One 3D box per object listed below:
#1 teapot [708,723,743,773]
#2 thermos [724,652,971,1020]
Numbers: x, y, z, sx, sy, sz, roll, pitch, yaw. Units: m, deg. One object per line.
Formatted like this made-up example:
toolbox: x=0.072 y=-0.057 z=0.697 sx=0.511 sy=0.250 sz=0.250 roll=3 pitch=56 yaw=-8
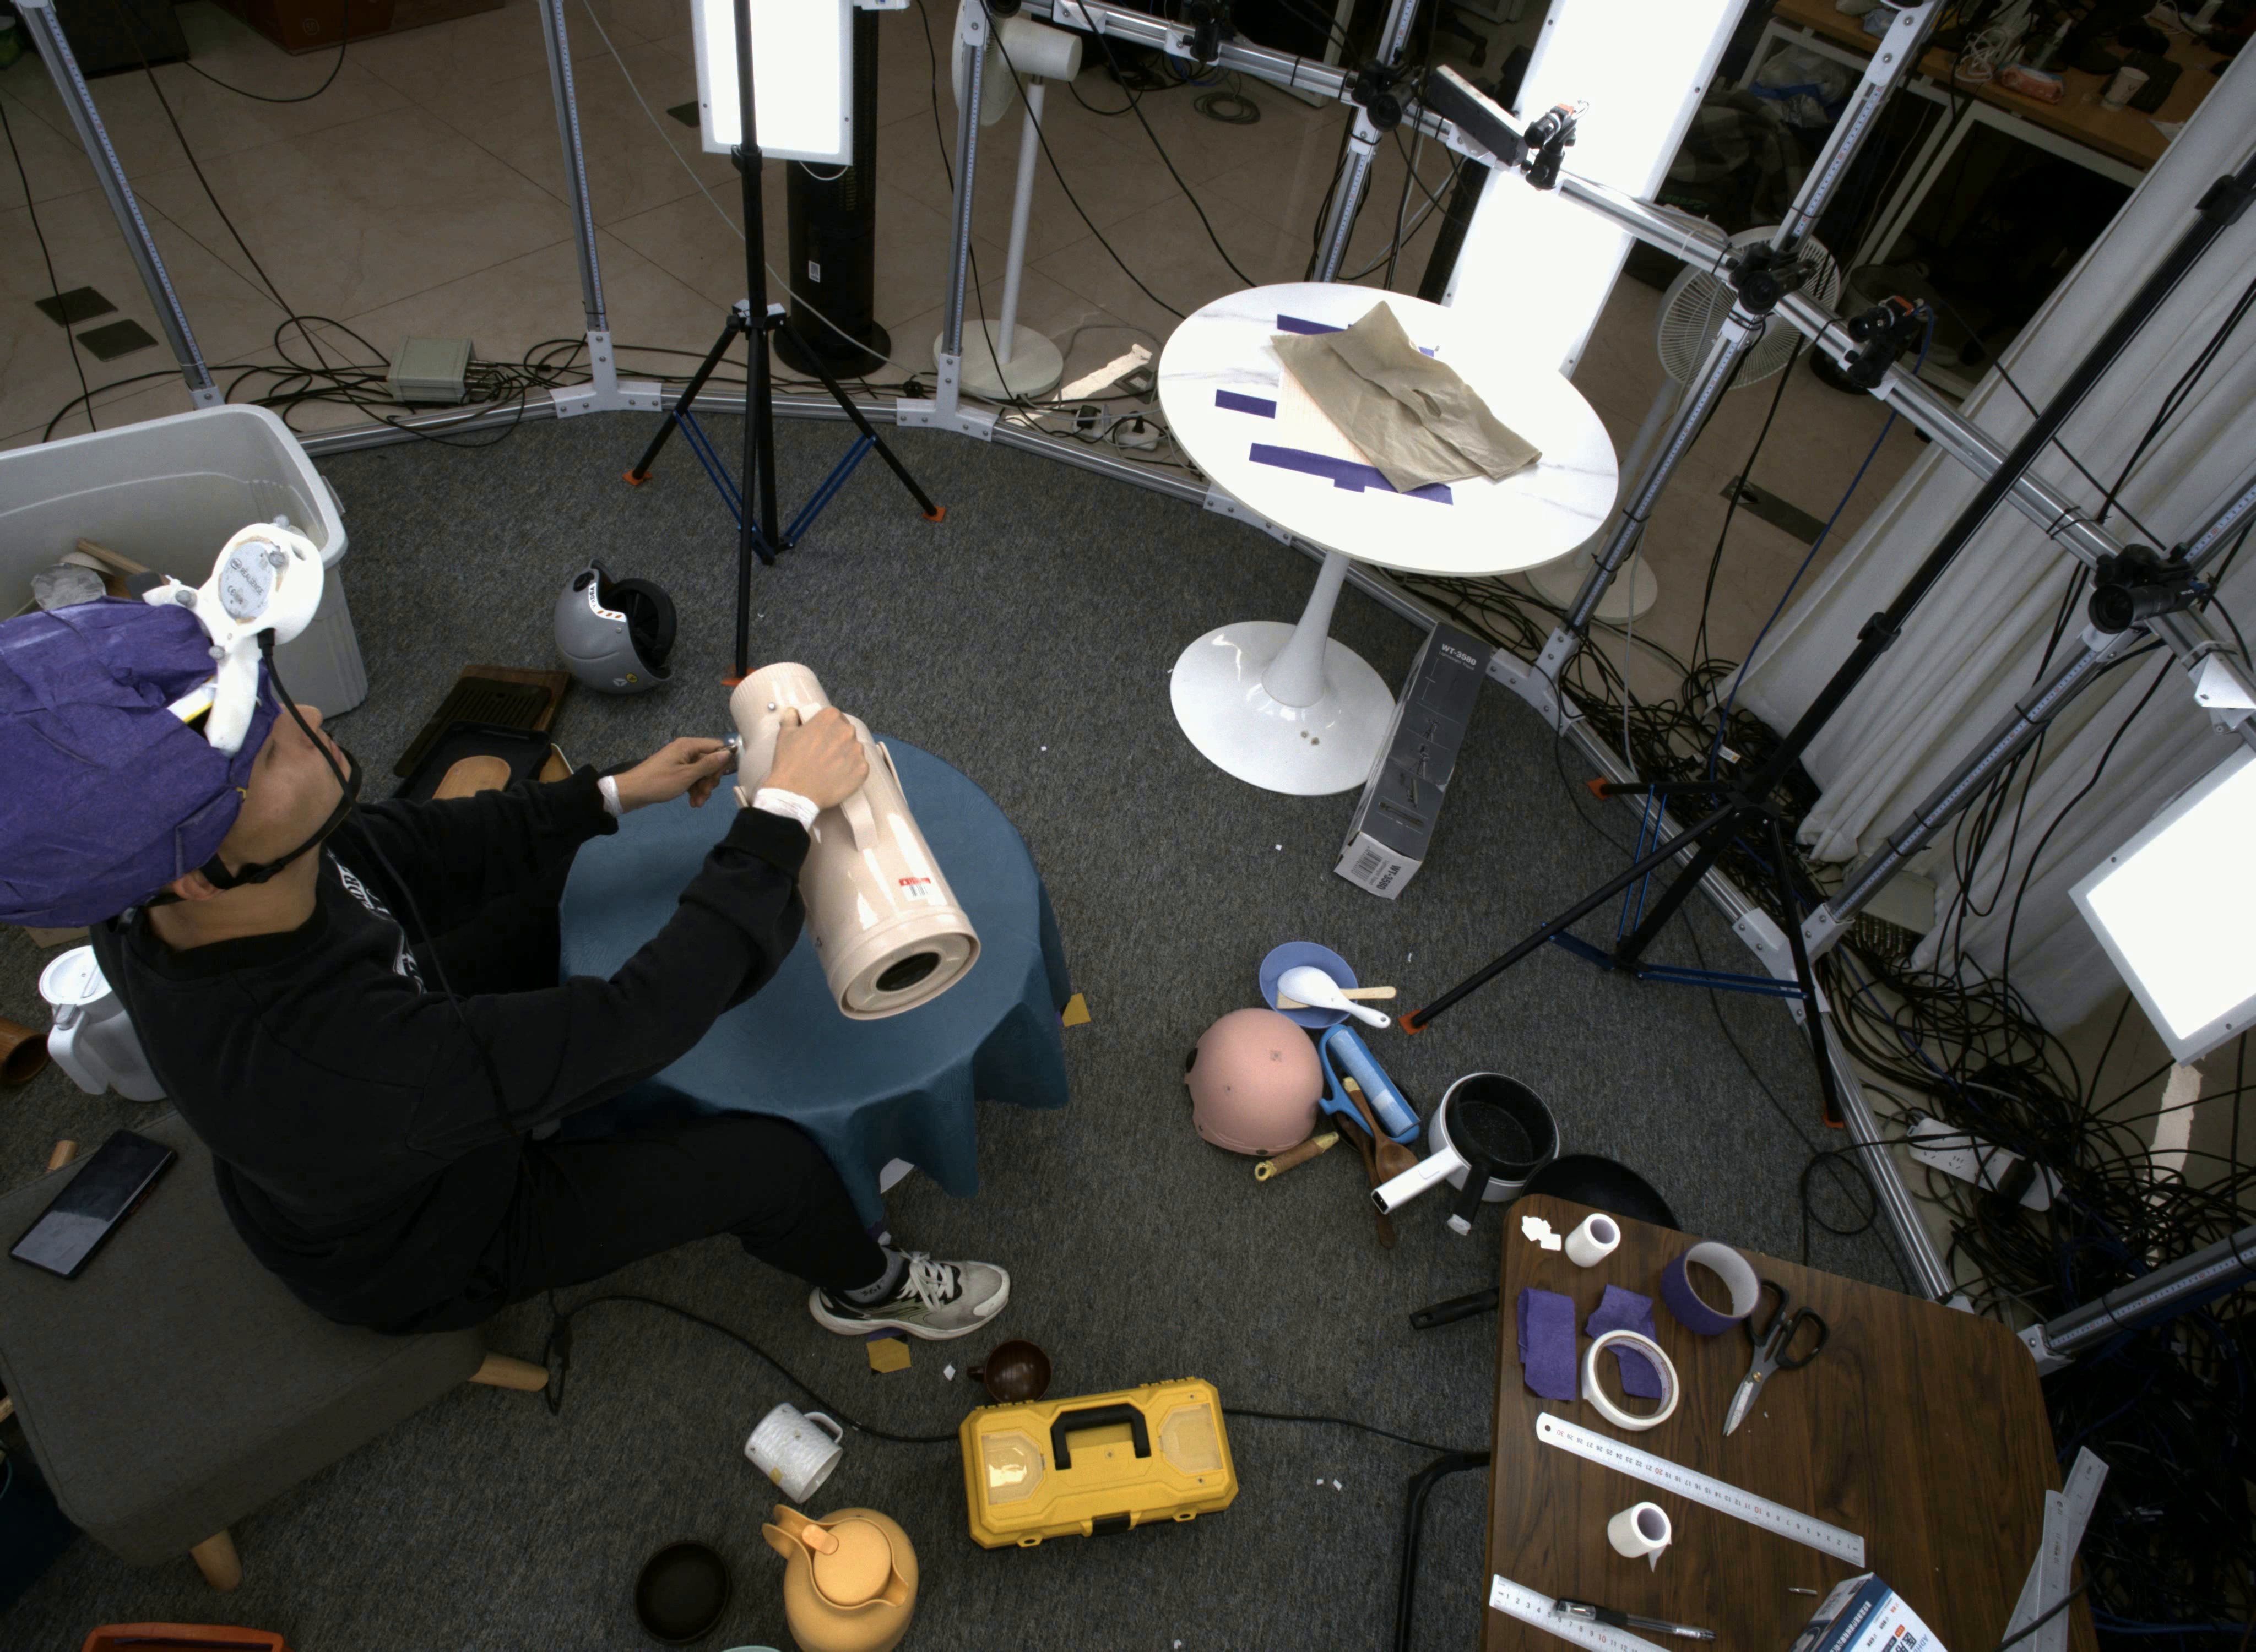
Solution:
teapot: x=-0.450 y=-0.092 z=1.583 sx=0.128 sy=0.061 sz=0.090 roll=-13 pitch=61 yaw=-18
thermos: x=-0.318 y=-0.012 z=1.386 sx=0.176 sy=0.210 sz=0.397 roll=-18 pitch=64 yaw=-24
